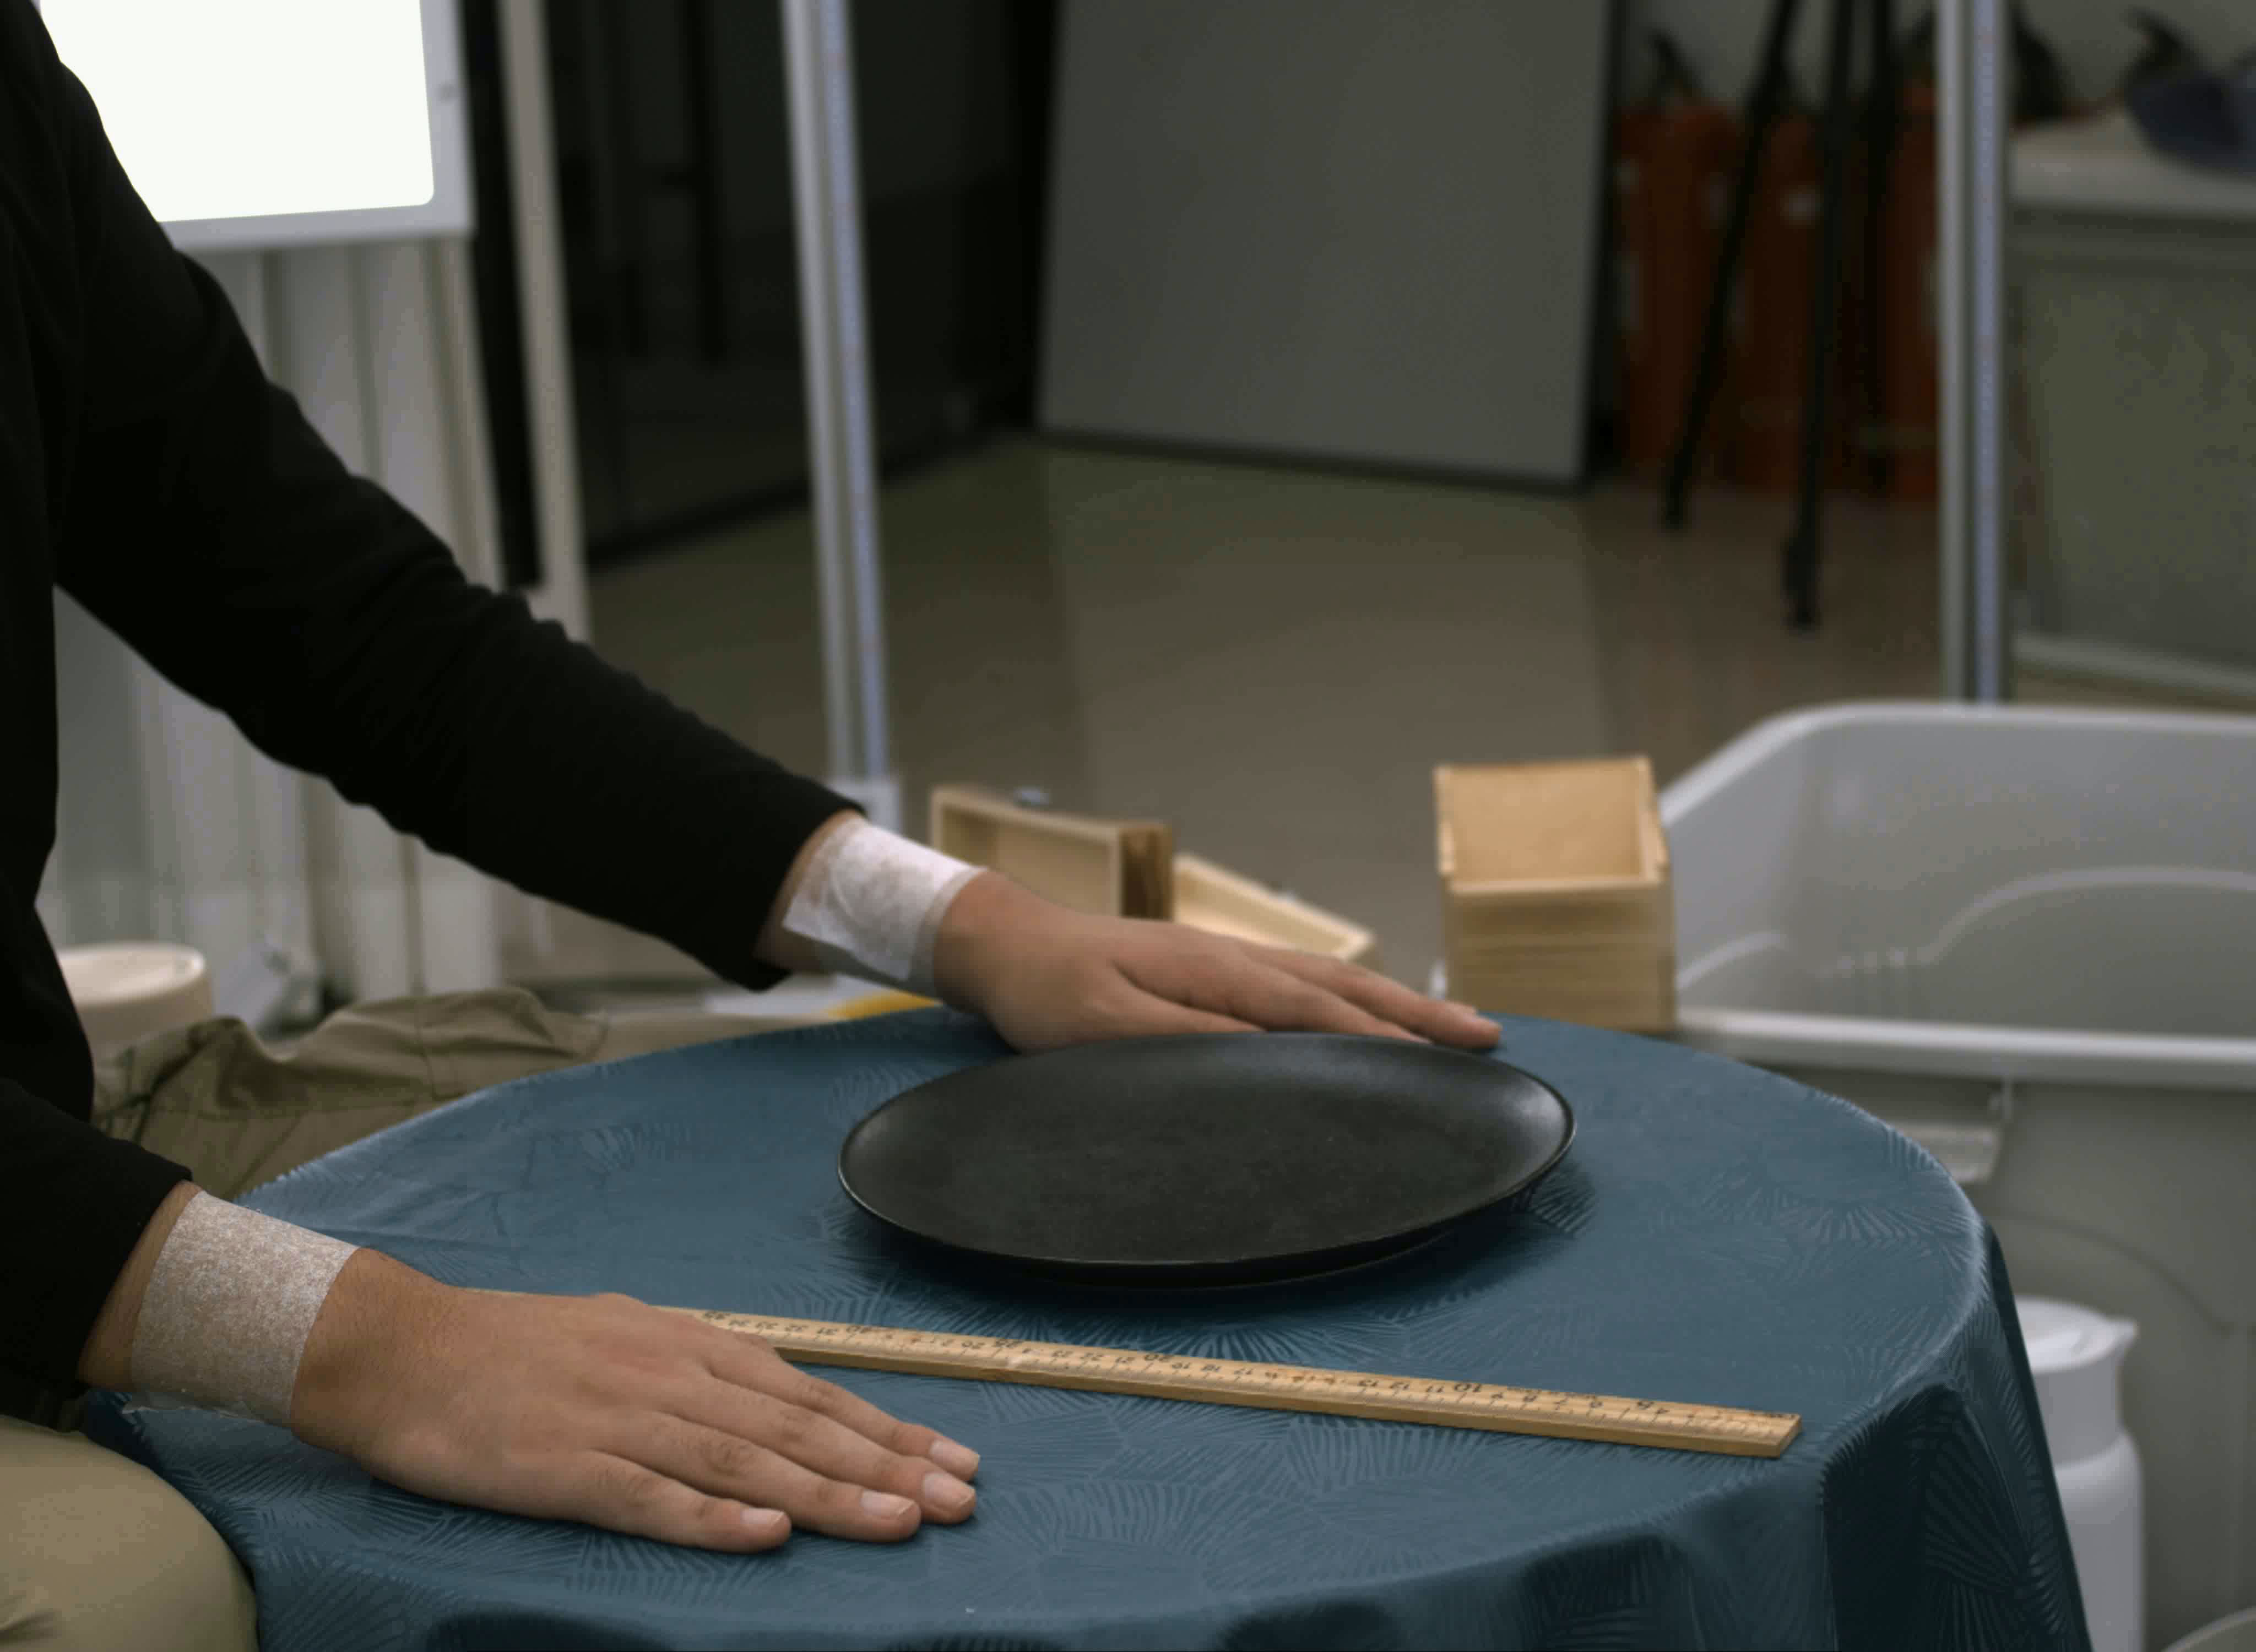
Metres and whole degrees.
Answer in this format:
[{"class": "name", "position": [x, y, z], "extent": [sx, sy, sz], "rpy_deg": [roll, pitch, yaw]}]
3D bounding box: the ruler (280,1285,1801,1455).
[{"class": "ruler", "position": [-0.038, 0.160, 1.612], "extent": [0.501, 0.006, 0.026], "rpy_deg": [2, 13, 26]}]

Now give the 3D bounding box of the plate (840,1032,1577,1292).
[{"class": "plate", "position": [0.027, 0.111, 1.752], "extent": [0.241, 0.024, 0.245], "rpy_deg": [-4, 14, 0]}]
